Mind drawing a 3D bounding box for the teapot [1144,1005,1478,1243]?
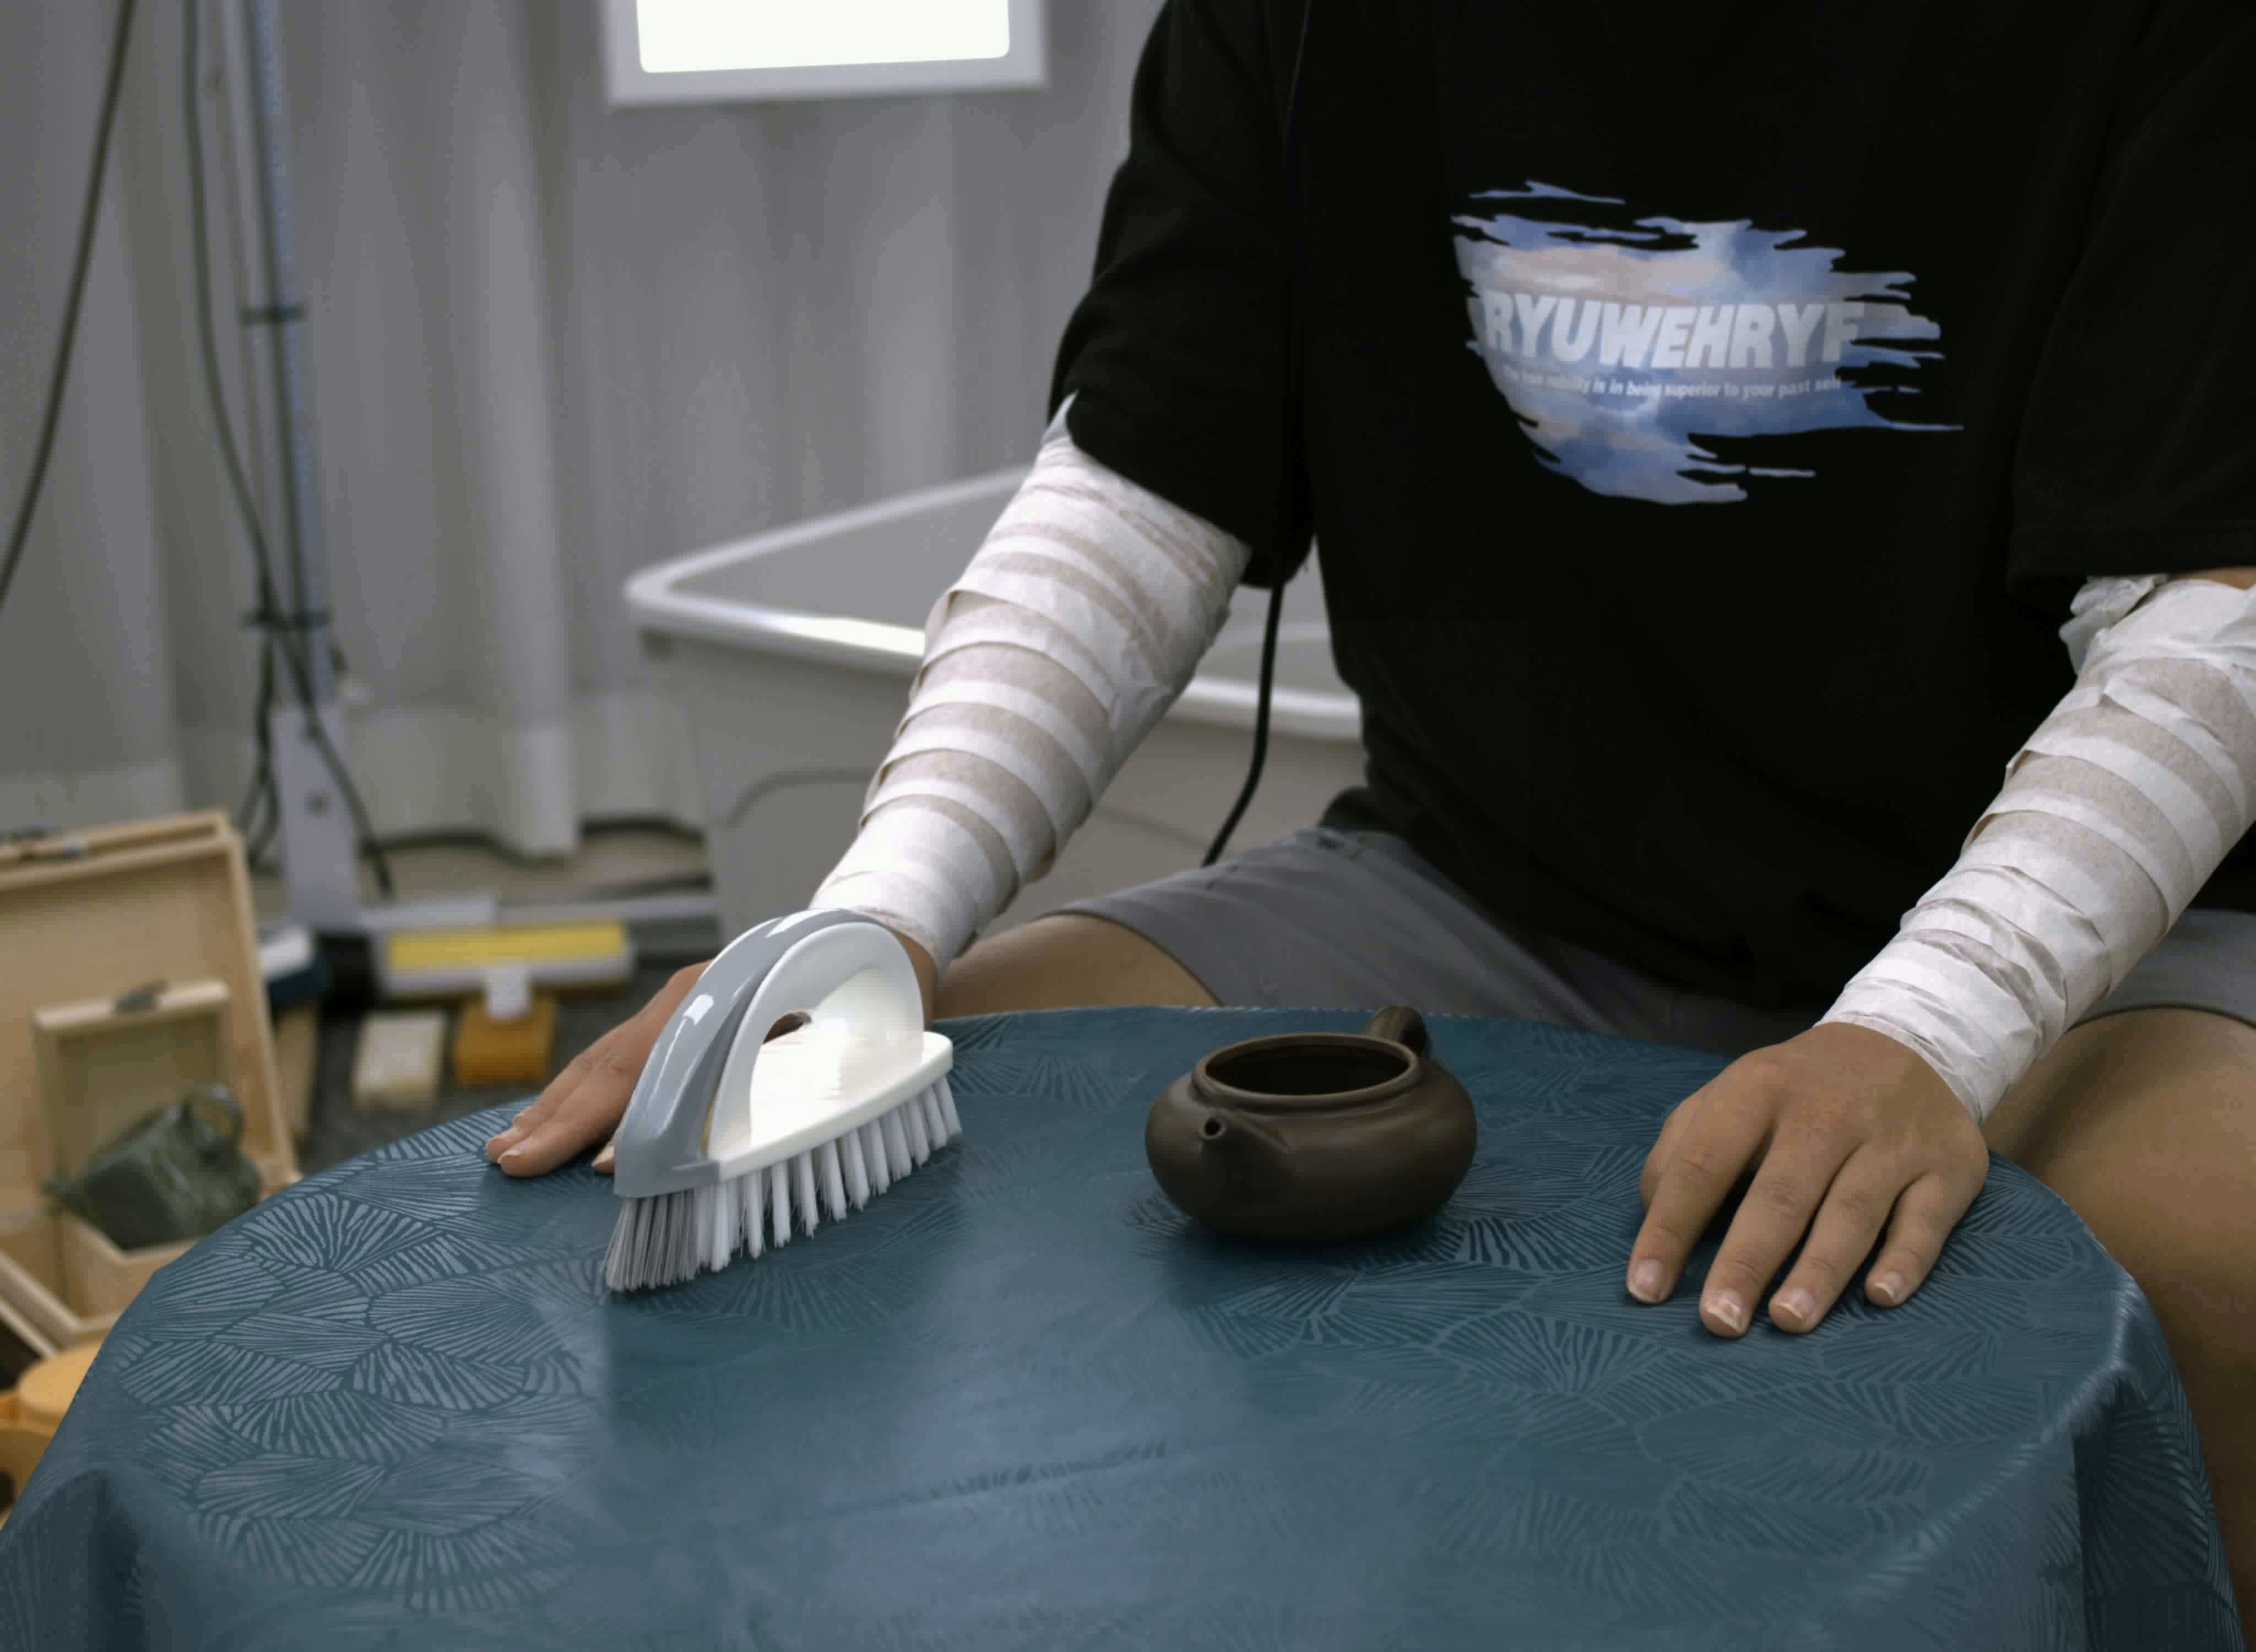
[{"bbox_3d":[0.057,0.092,1.682,0.102,0.053,0.154,4,16,20],"label":"teapot"}]

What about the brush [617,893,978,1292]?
[{"bbox_3d":[-0.111,0.077,1.698,0.061,0.094,0.176,1,16,28],"label":"brush"}]
